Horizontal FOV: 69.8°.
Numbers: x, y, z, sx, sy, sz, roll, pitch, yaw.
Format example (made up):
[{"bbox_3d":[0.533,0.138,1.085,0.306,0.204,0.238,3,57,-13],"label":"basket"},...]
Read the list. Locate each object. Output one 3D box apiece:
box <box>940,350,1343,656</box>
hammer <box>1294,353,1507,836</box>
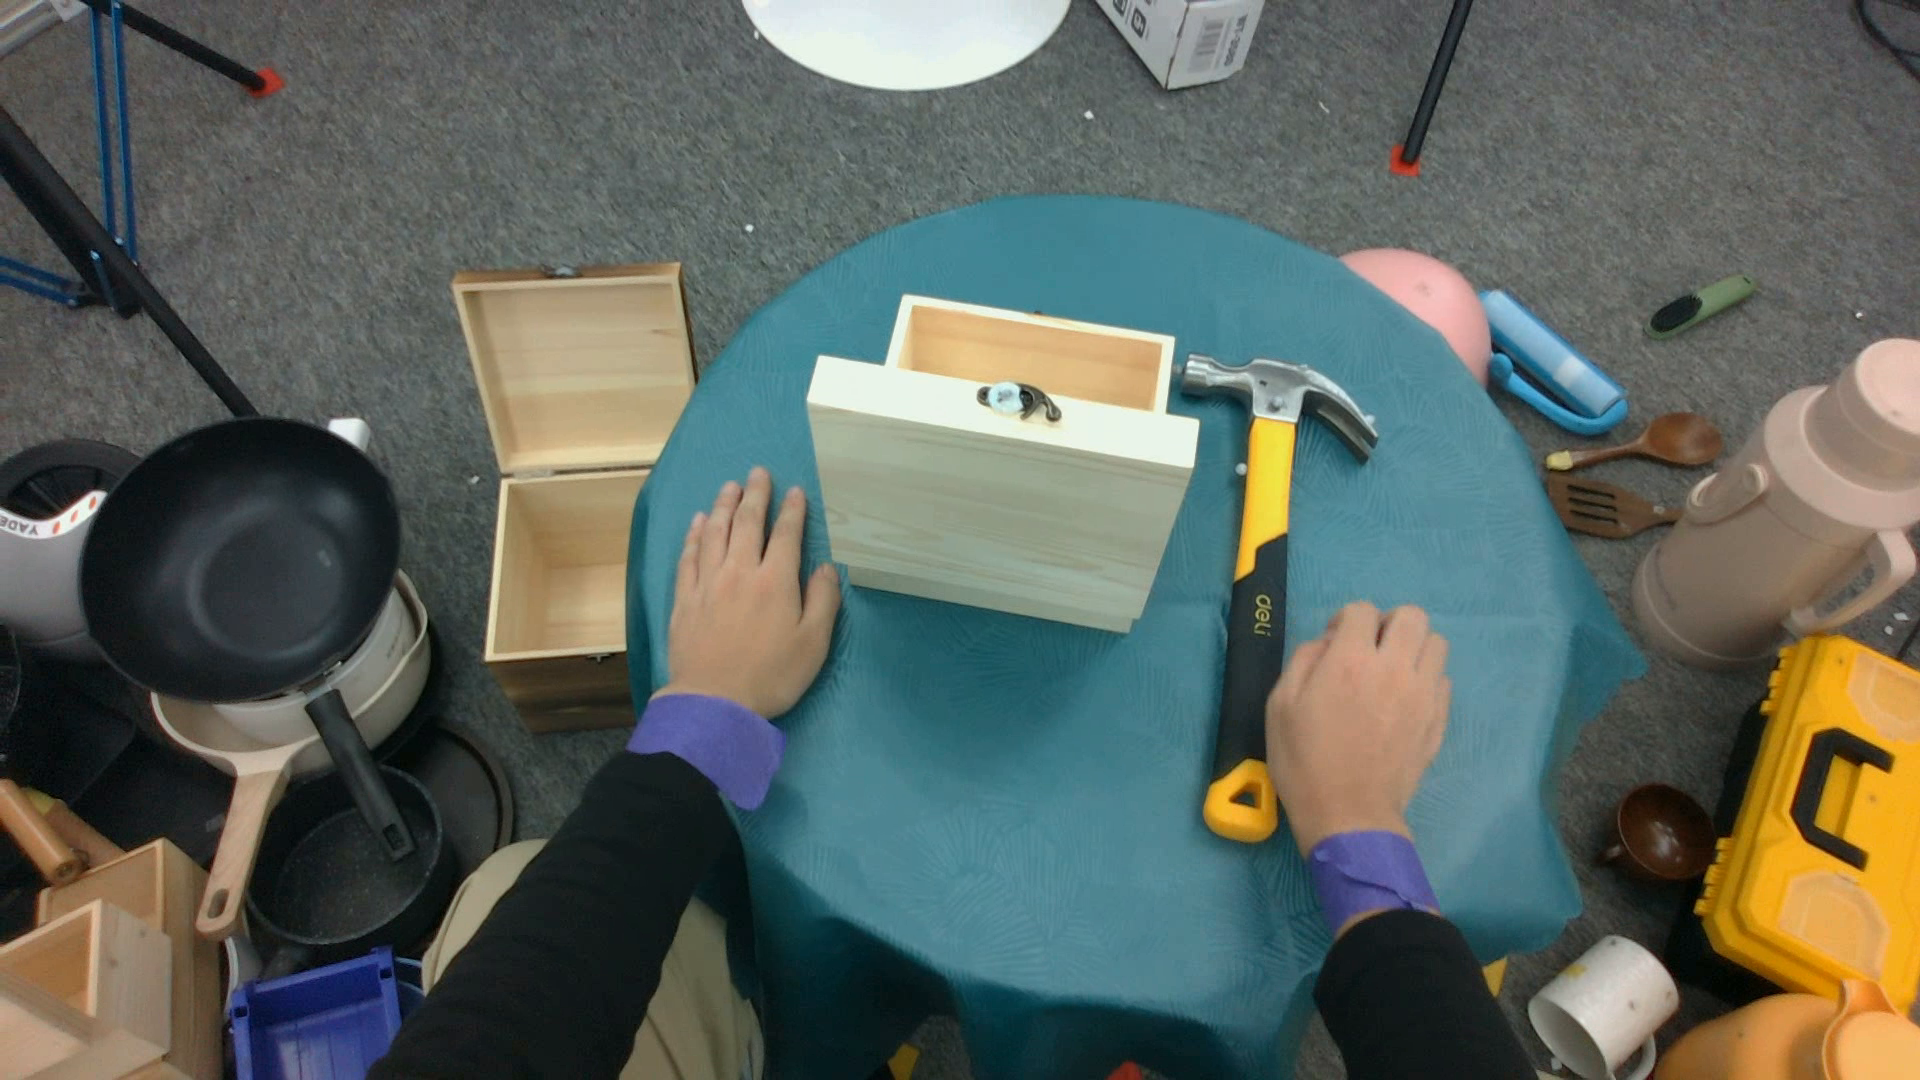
[{"bbox_3d":[0.101,-0.042,0.786,0.181,0.252,0.266,-1,56,7],"label":"box"},{"bbox_3d":[0.279,0.018,0.840,0.131,0.032,0.340,-1,55,10],"label":"hammer"}]
